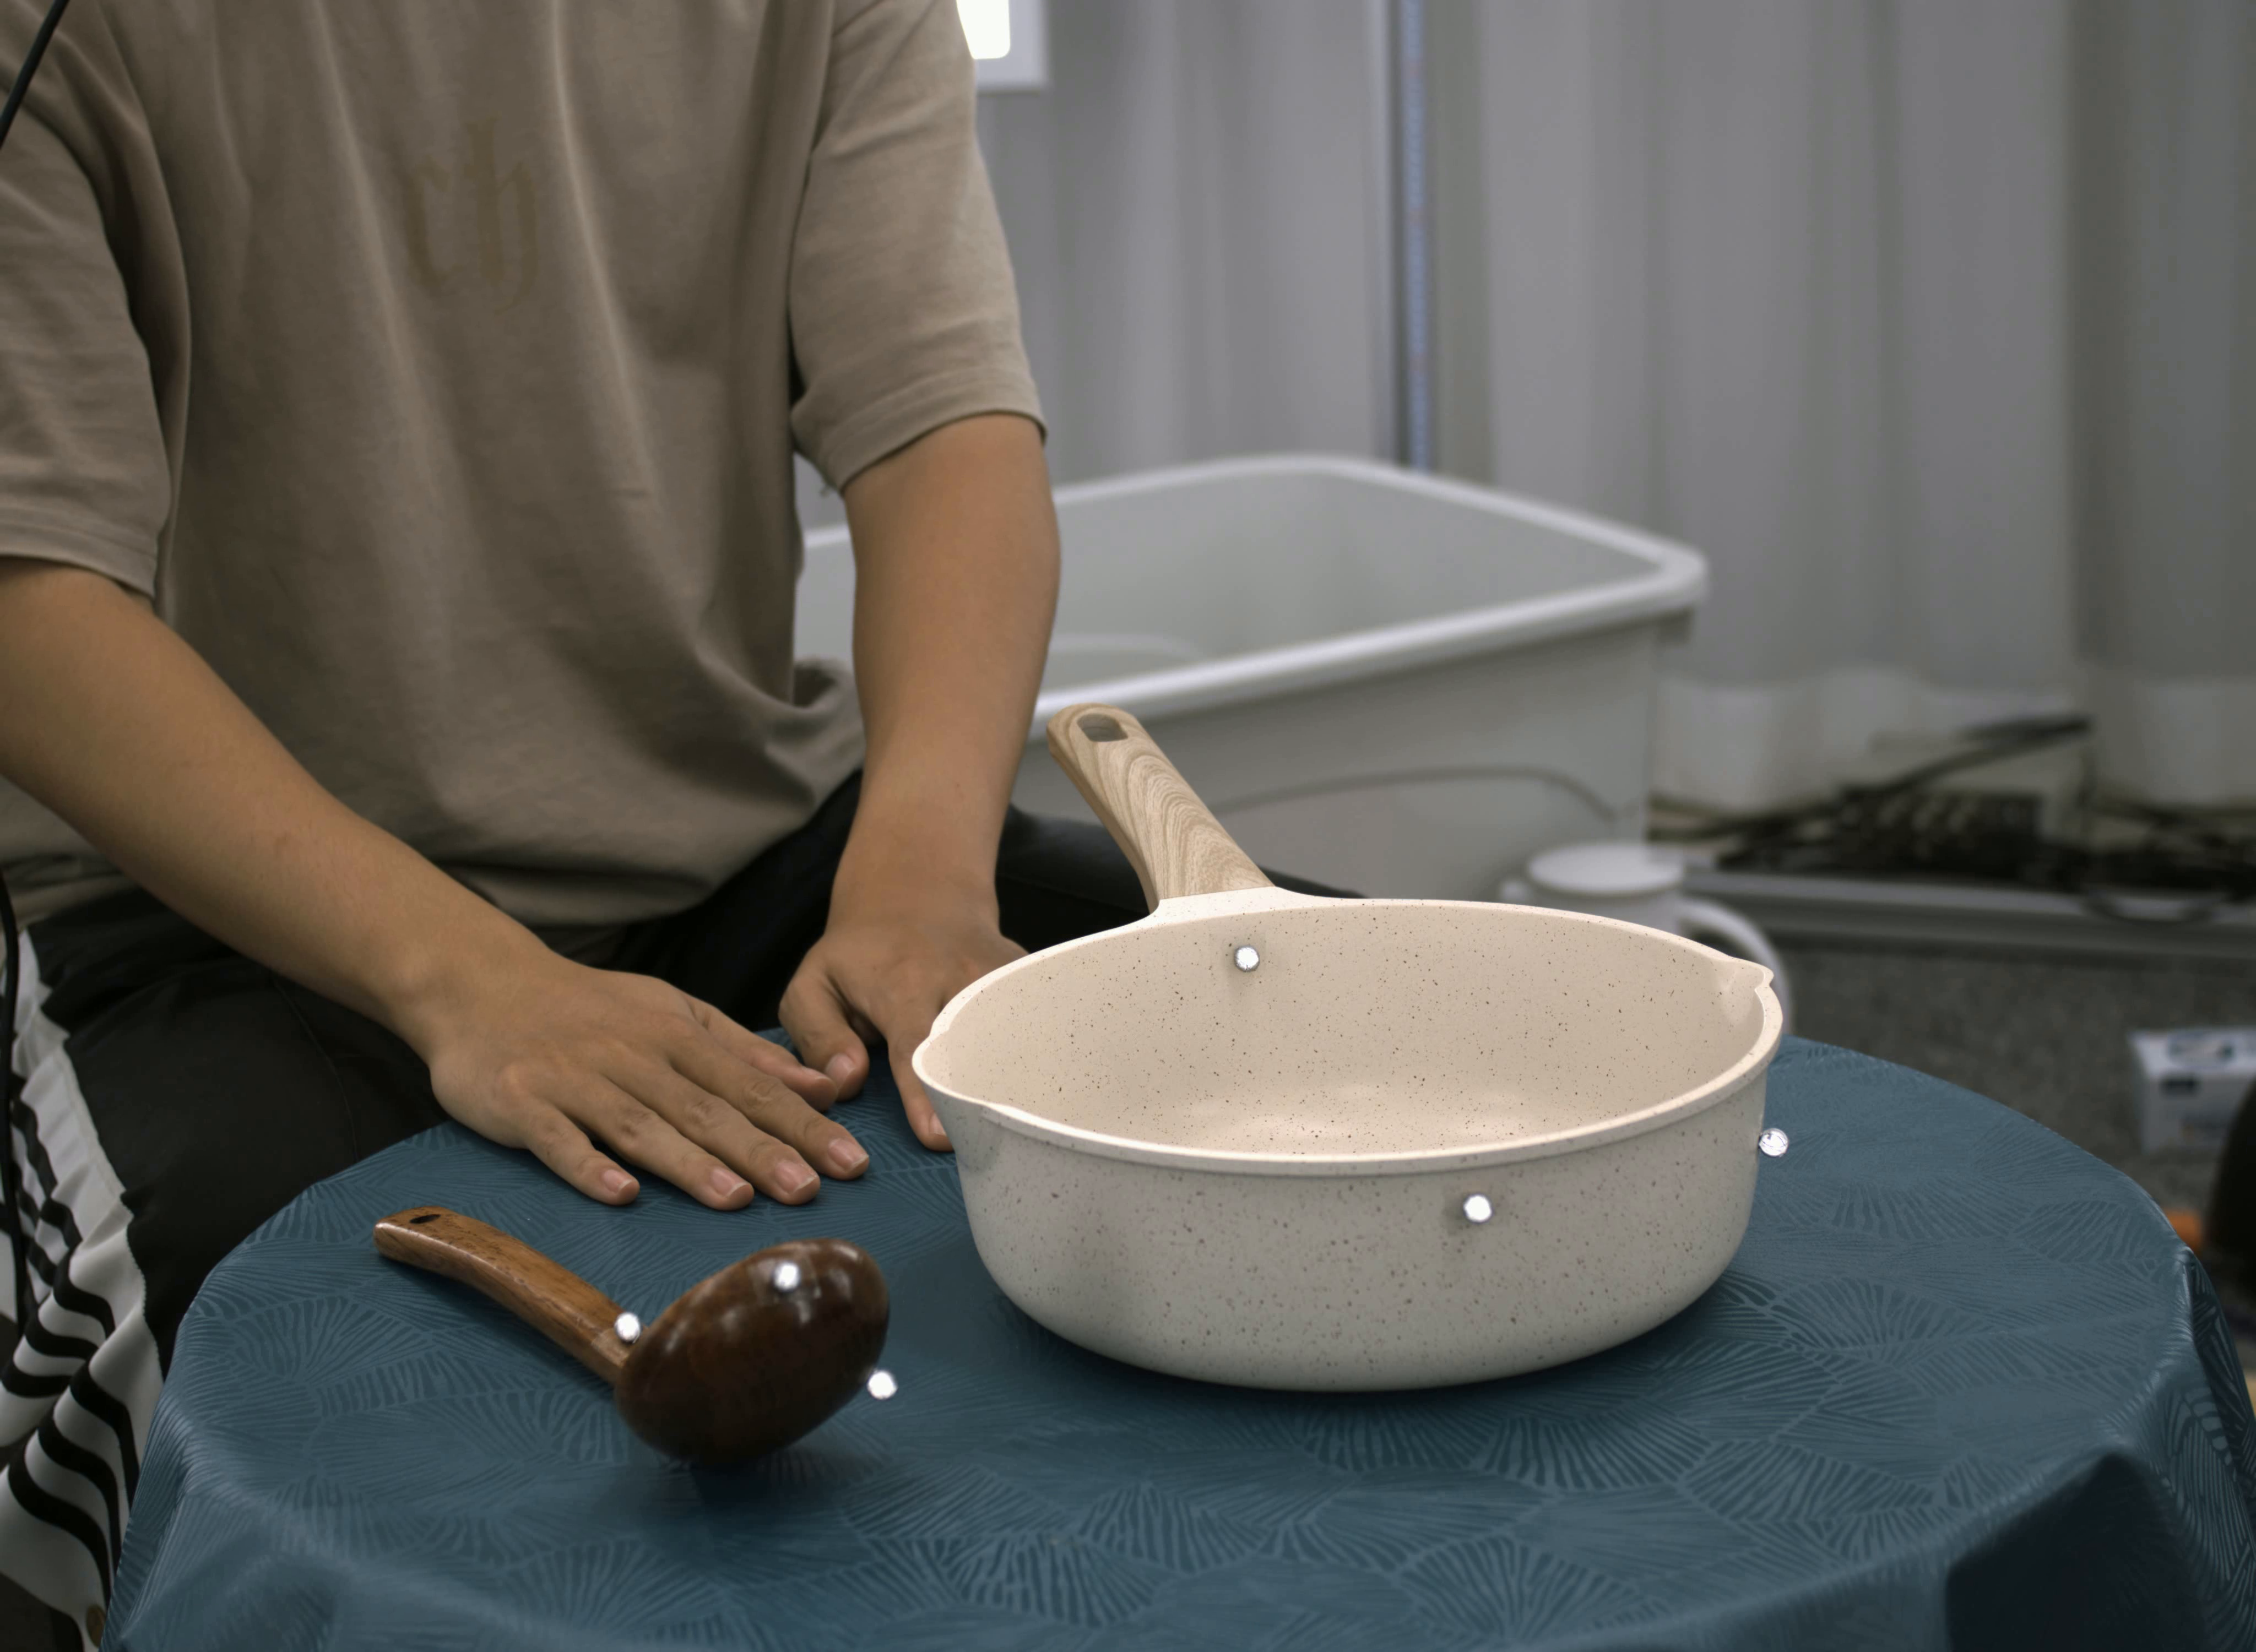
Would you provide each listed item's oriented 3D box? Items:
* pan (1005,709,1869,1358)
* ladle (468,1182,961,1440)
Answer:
[{"bbox_3d":[0.069,0.058,1.705,0.262,0.101,0.438,-8,15,-14],"label":"pan"},{"bbox_3d":[-0.135,0.115,1.570,0.081,0.076,0.276,-12,17,-27],"label":"ladle"}]
